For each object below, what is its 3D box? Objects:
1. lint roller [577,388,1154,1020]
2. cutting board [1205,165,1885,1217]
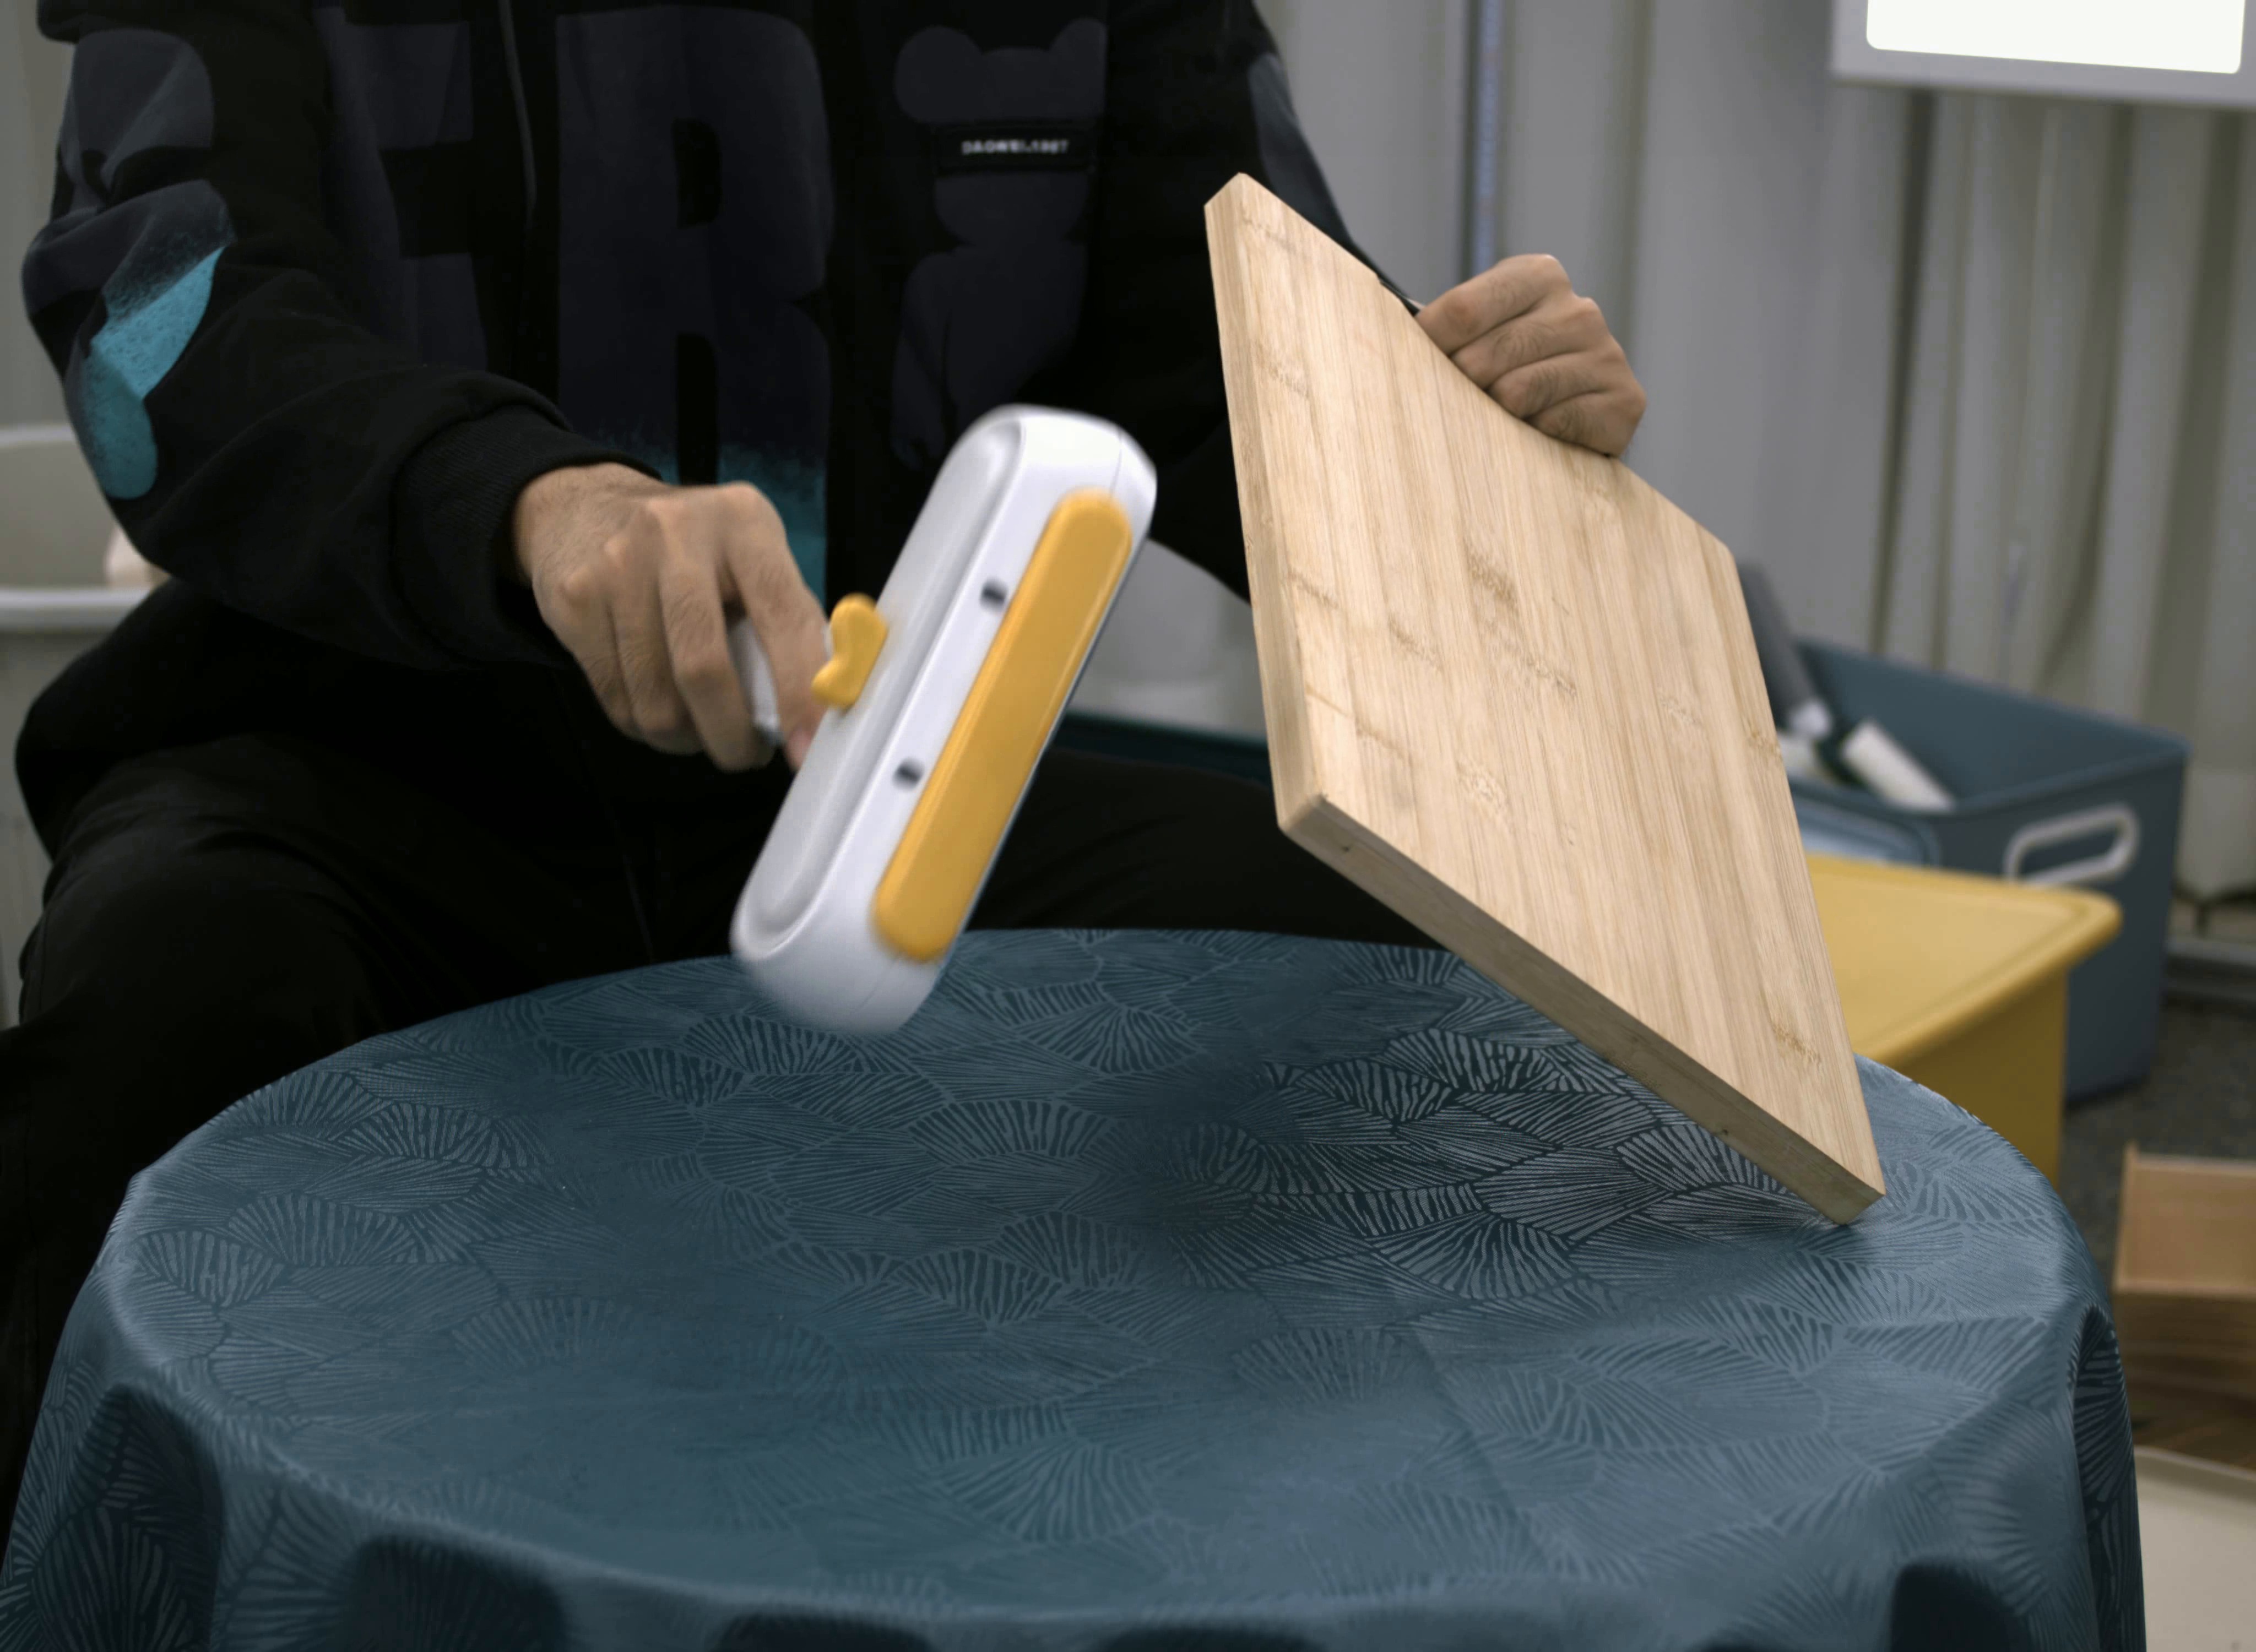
[{"bbox_3d":[-0.091,-0.041,1.550,0.075,0.193,0.190,27,-13,-34],"label":"lint roller"},{"bbox_3d":[0.126,-0.050,1.673,0.253,0.023,0.345,35,28,-28],"label":"cutting board"}]
